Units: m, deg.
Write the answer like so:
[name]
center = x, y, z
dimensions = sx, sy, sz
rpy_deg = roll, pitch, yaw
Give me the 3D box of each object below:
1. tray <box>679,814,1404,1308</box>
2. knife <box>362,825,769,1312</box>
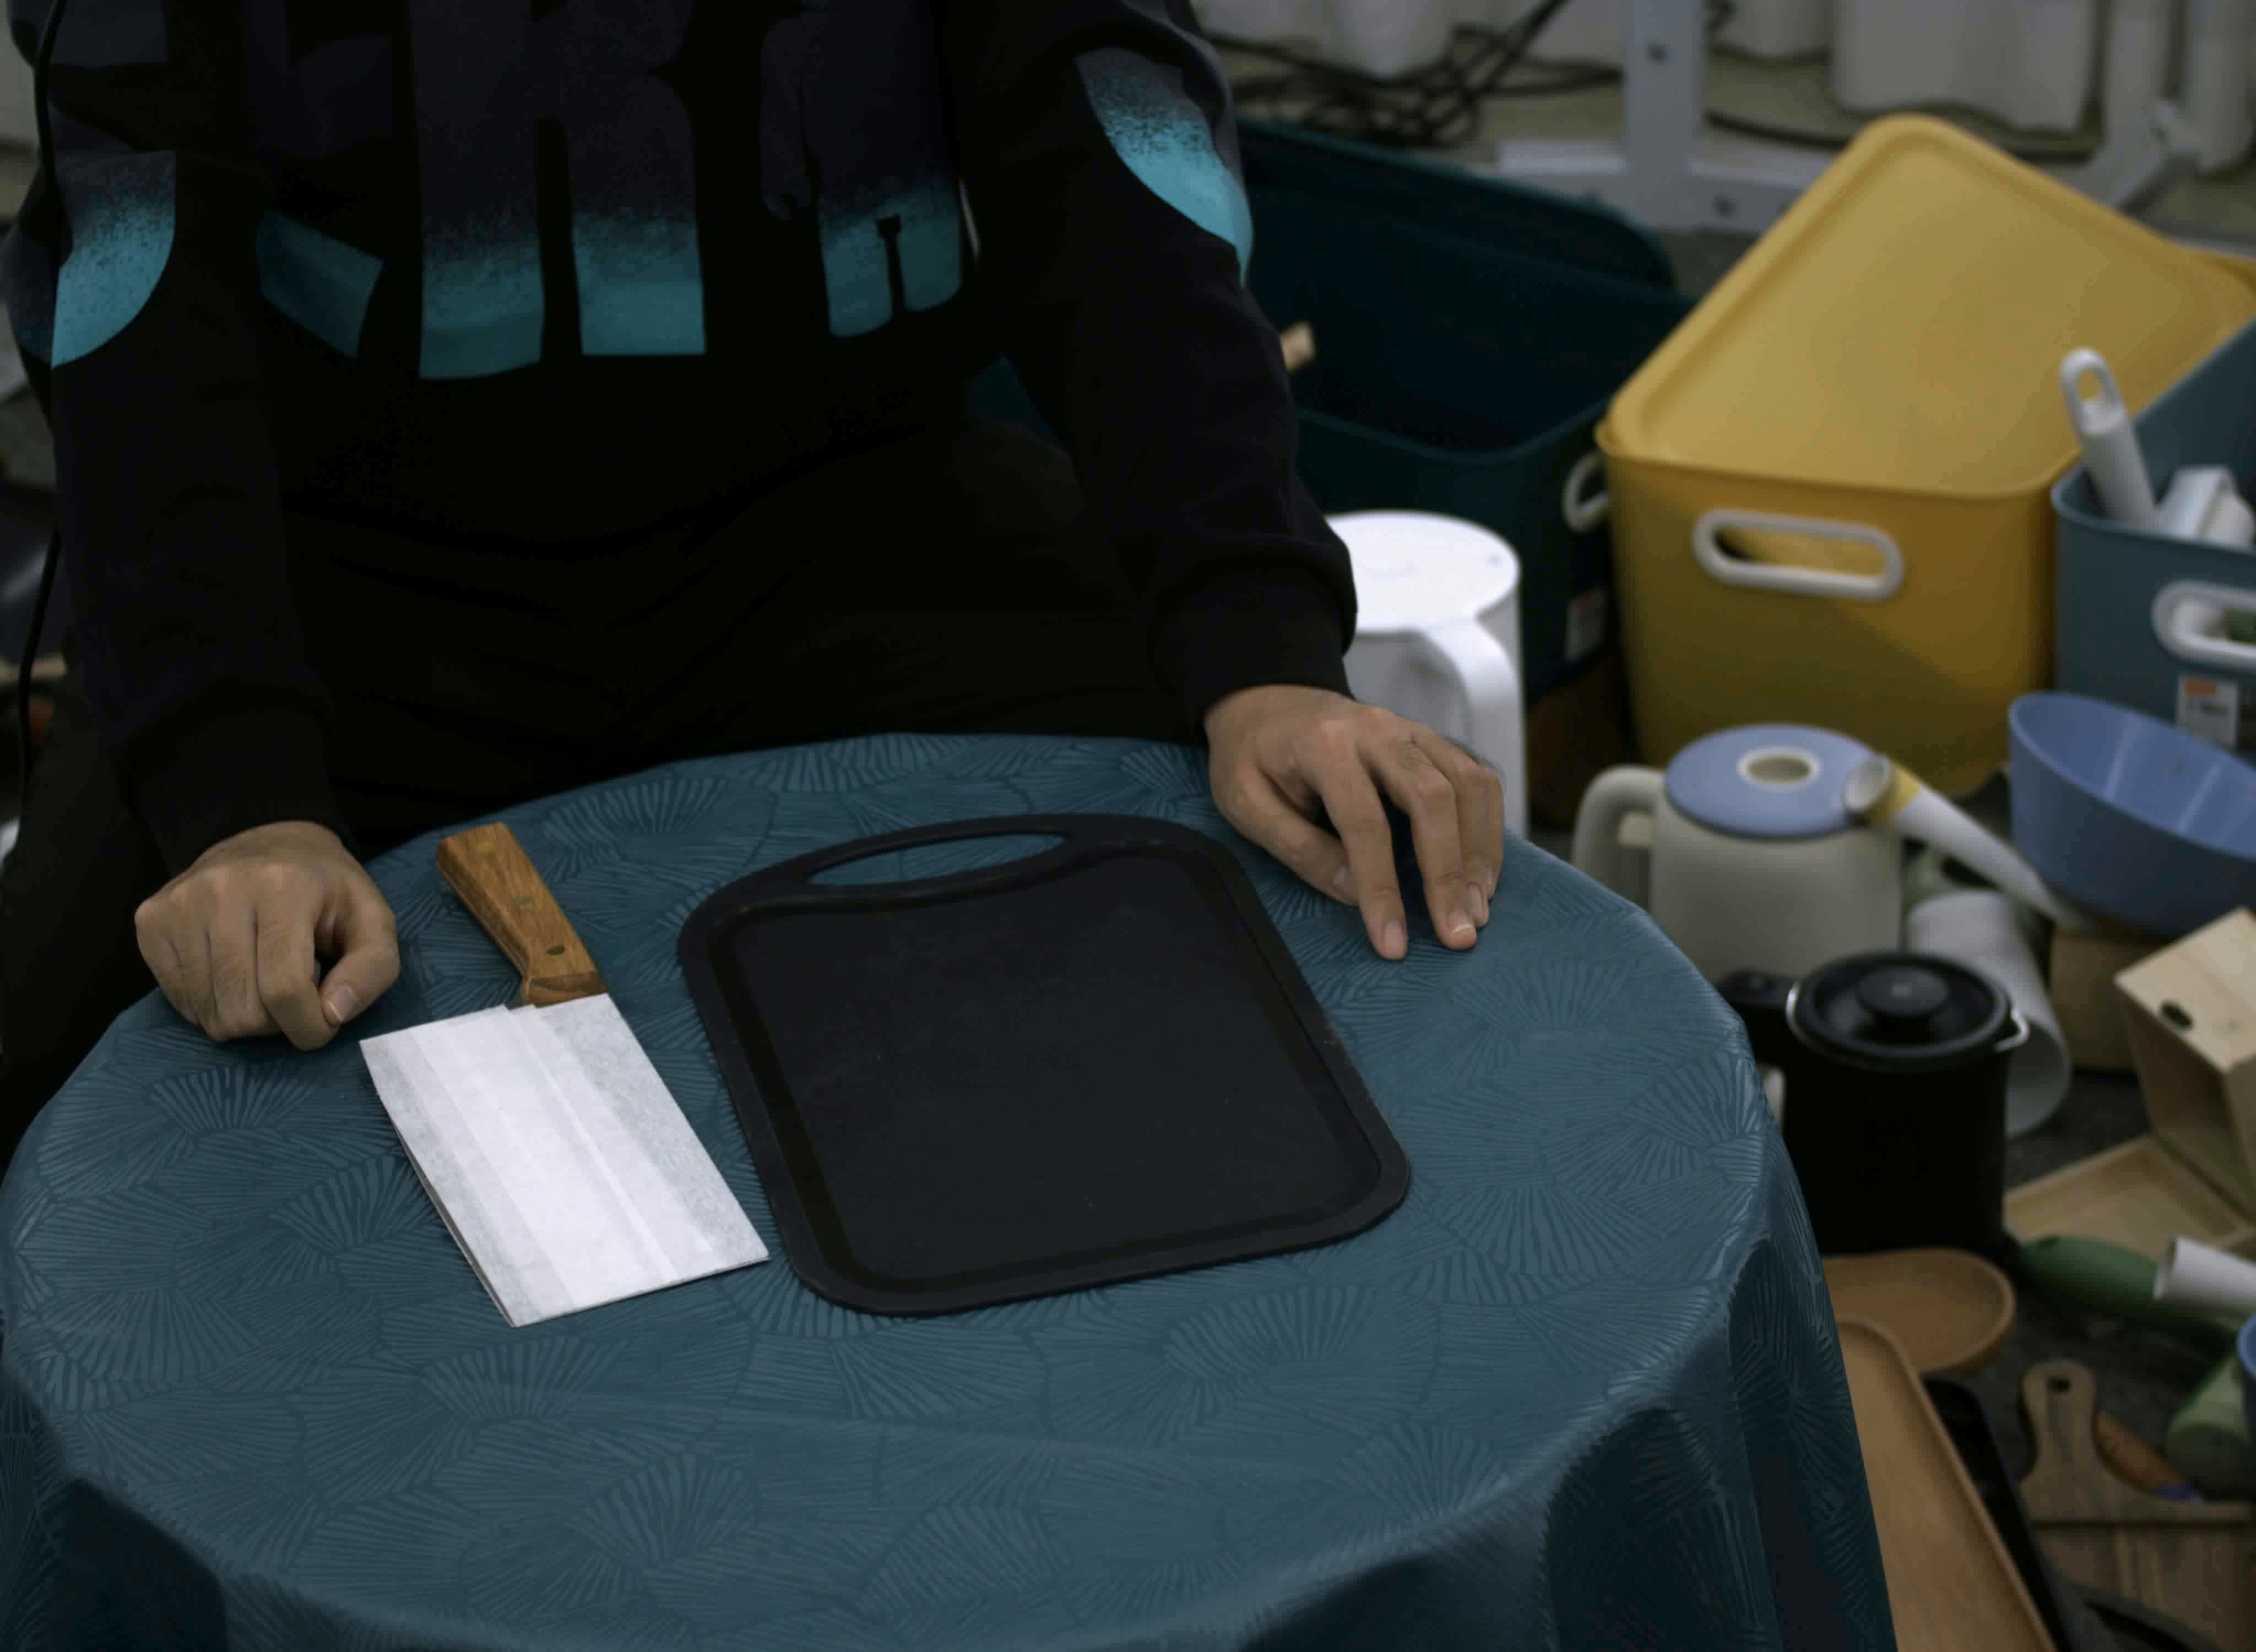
[tray]
center = -0.038, 0.072, 1.953
dimensions = 0.211, 0.009, 0.329
rpy_deg = -9, 28, -11
[knife]
center = -0.212, 0.083, 1.942
dimensions = 0.093, 0.021, 0.308
rpy_deg = -14, 32, -17
